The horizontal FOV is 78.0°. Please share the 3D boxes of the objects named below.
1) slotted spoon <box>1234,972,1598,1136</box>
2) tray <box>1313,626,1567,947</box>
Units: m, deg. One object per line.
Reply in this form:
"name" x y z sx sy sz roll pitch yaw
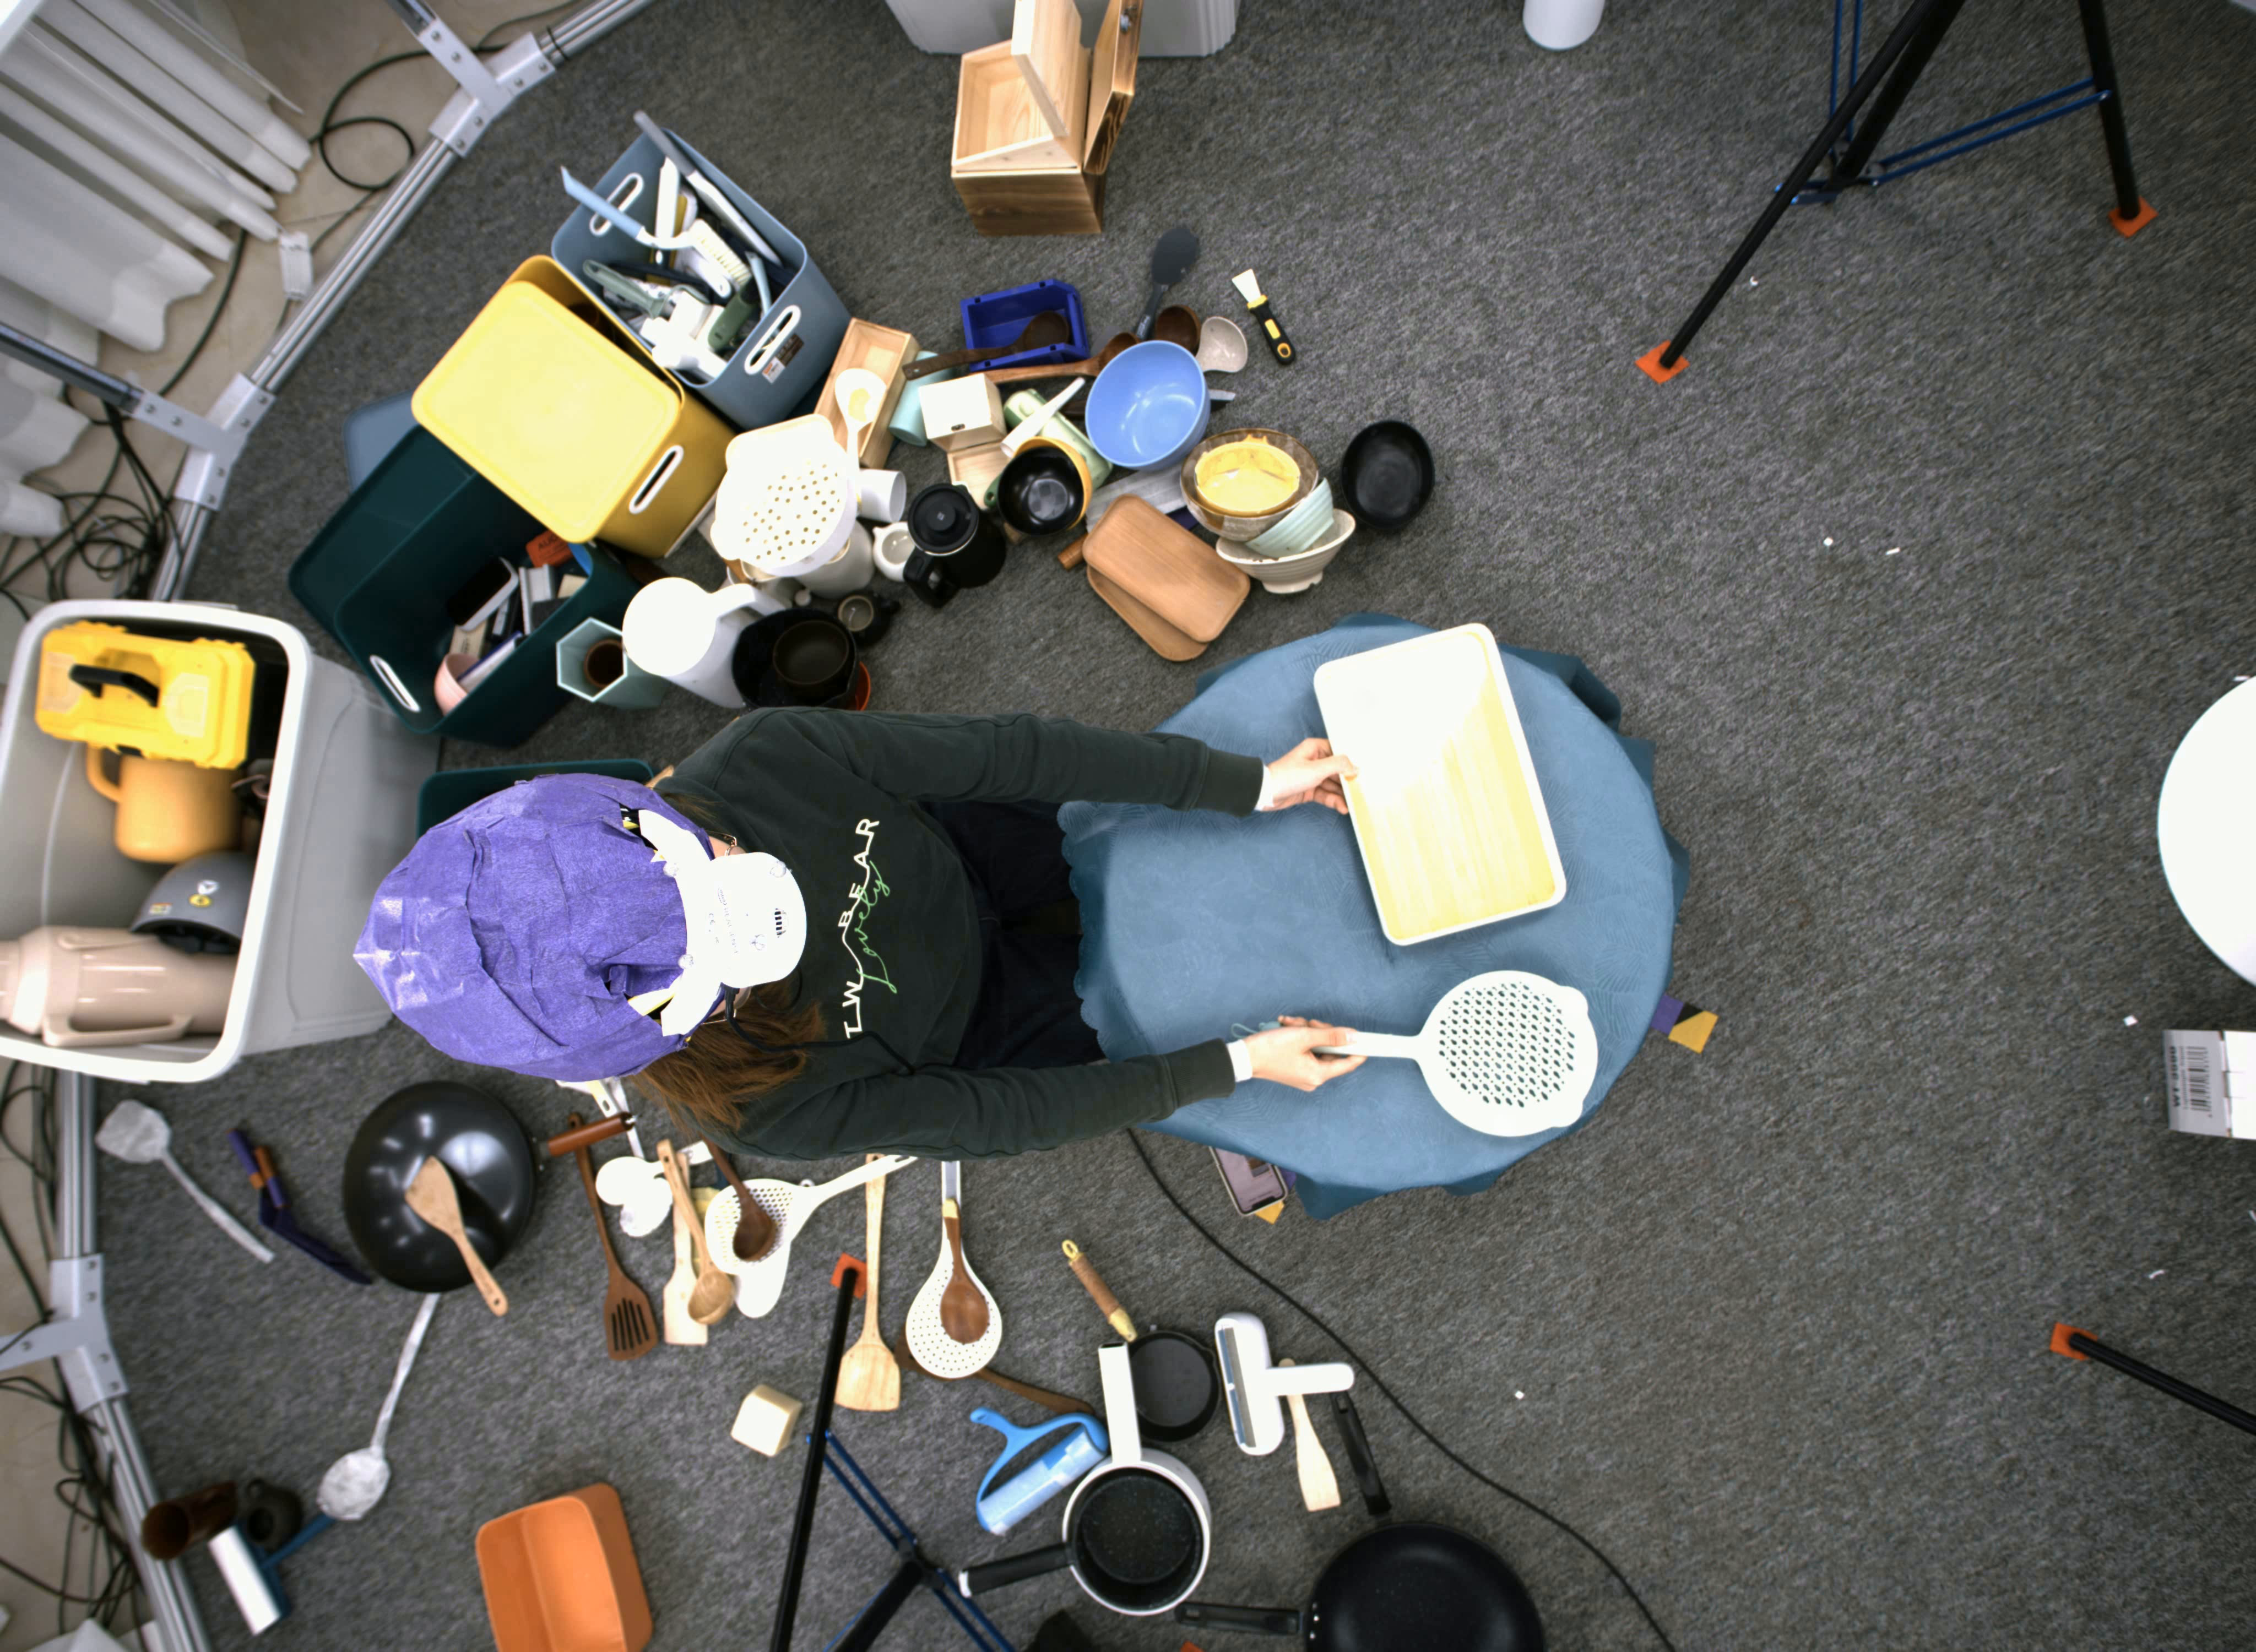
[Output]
"slotted spoon" 0.288 0.222 1.407 0.360 0.075 0.170 1 98 5
"tray" 0.318 -0.043 1.412 0.192 0.027 0.299 -15 86 4
